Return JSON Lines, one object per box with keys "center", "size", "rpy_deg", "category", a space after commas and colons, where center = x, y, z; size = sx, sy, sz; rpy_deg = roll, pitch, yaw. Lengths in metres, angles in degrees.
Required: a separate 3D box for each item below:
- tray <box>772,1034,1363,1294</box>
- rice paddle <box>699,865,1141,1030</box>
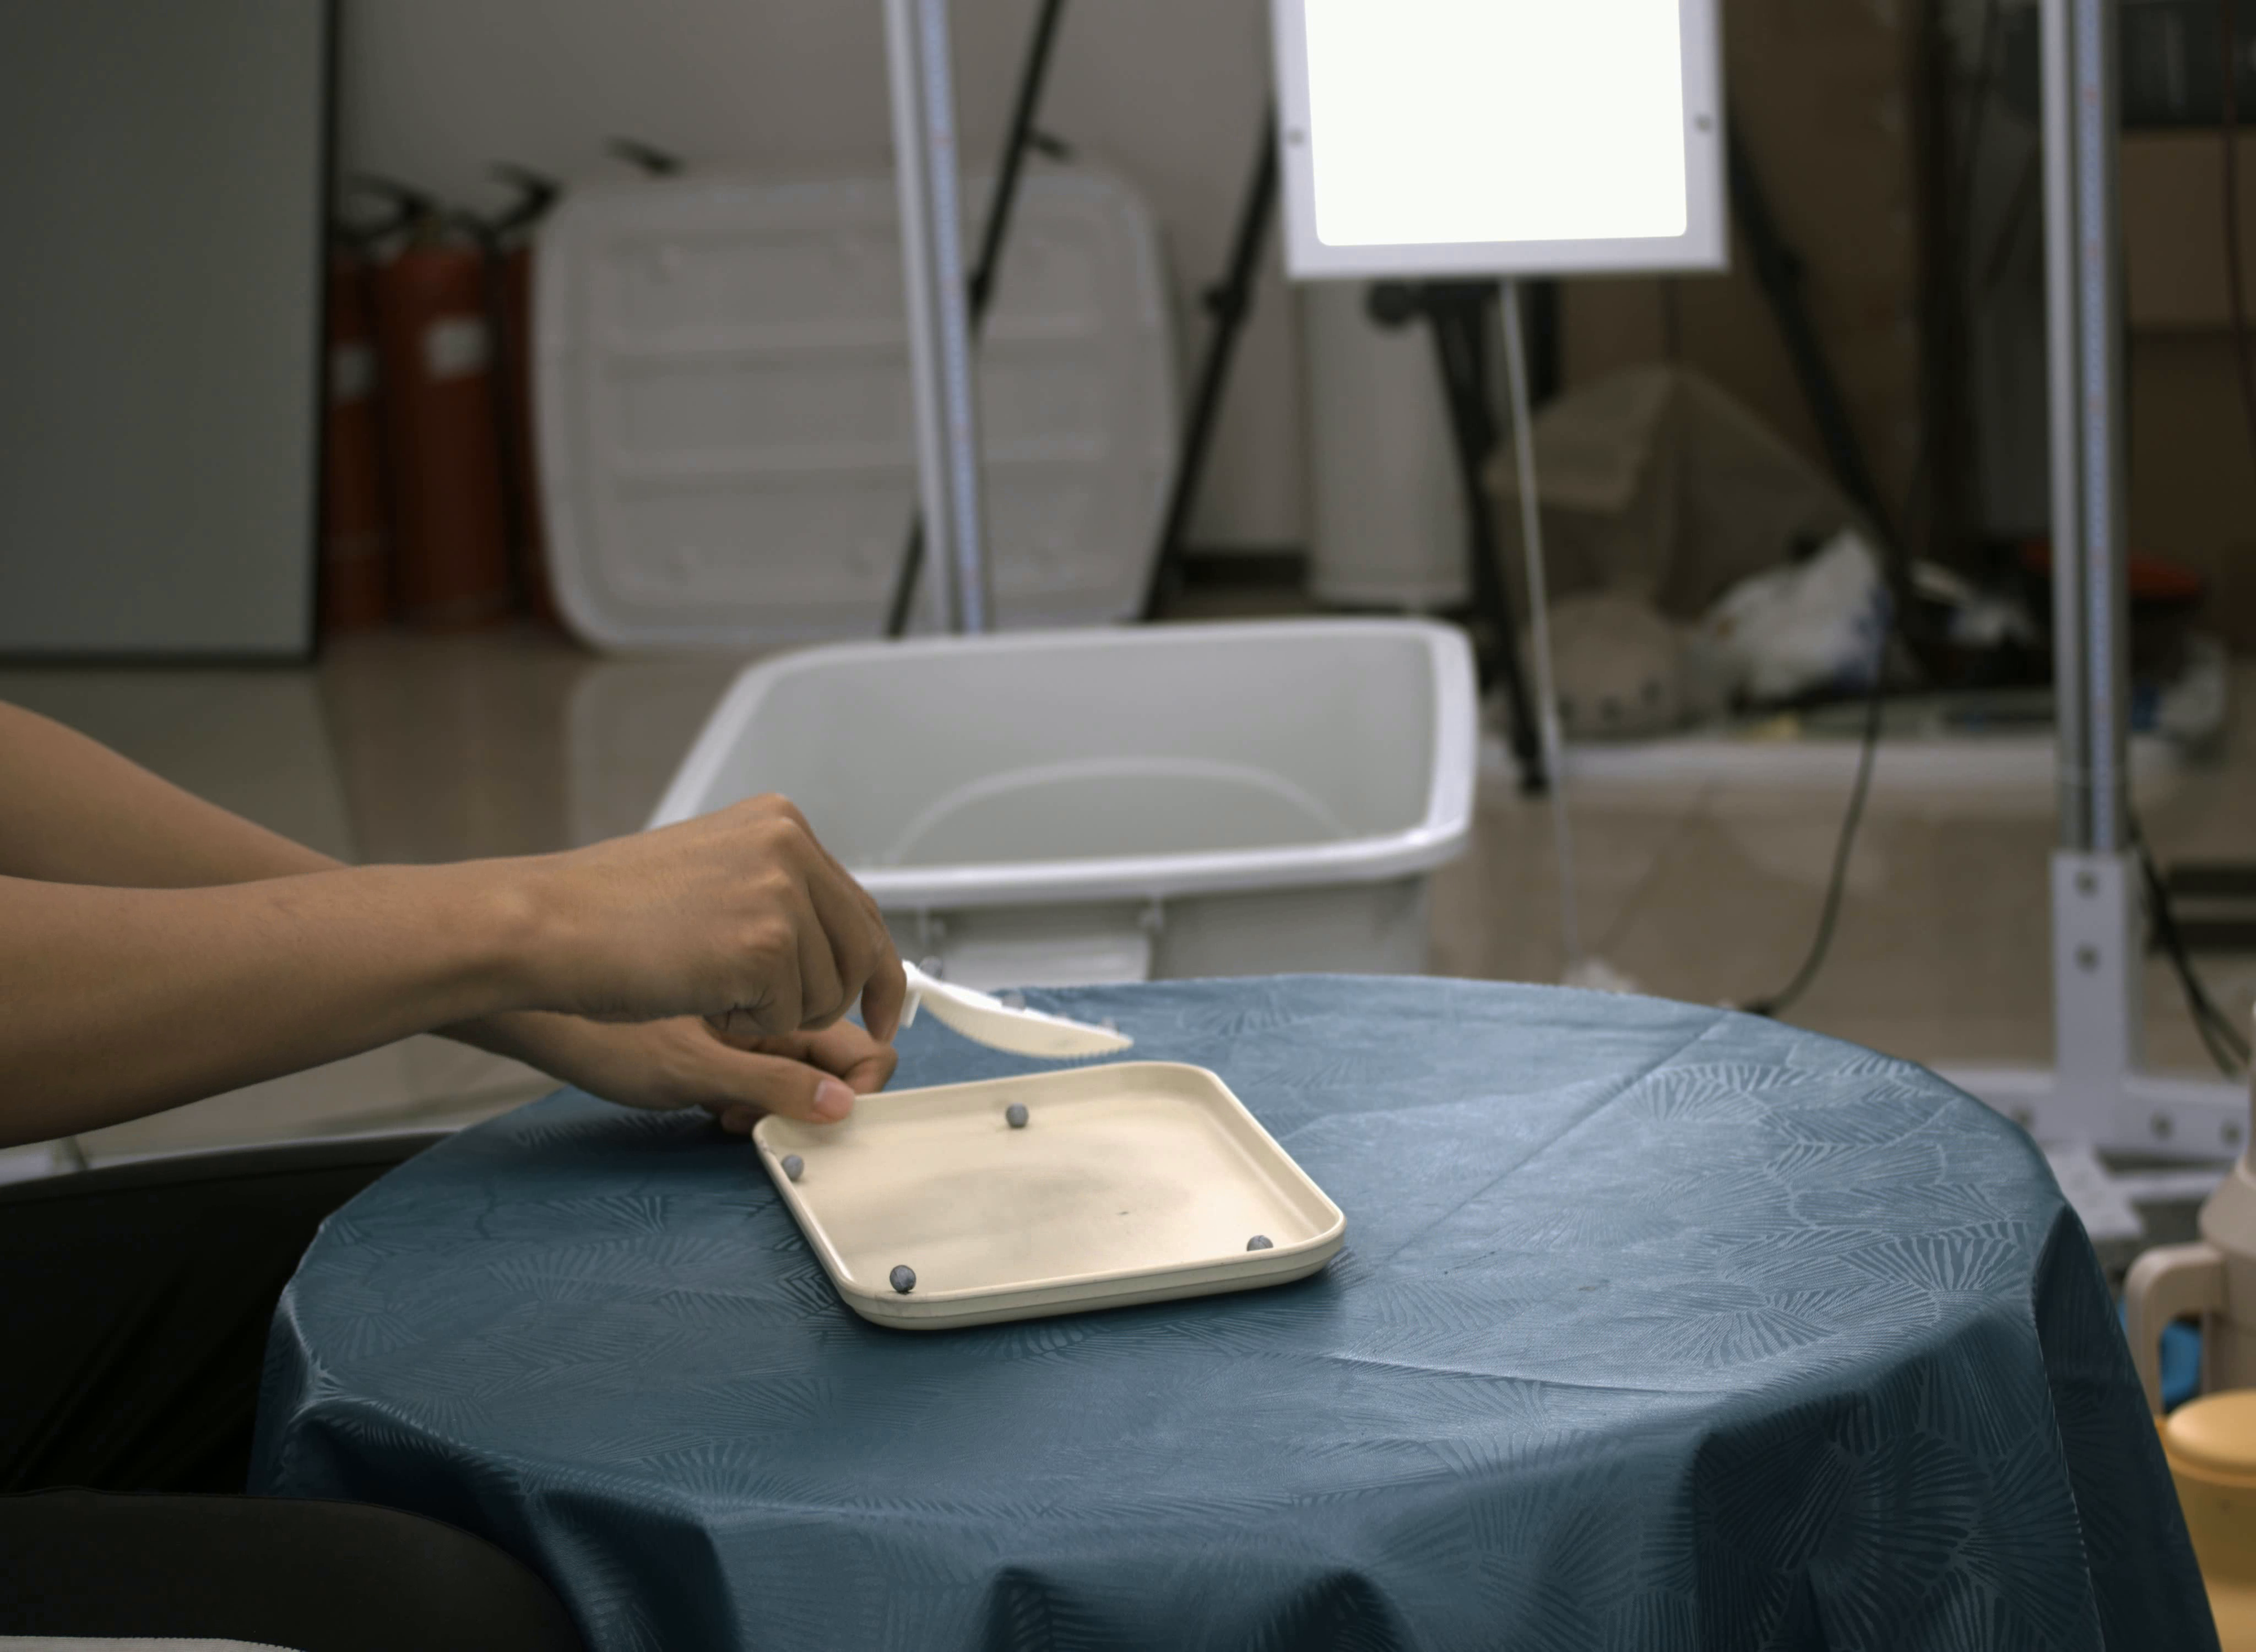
{"center": [-0.024, 0.115, 1.890], "size": [0.169, 0.017, 0.241], "rpy_deg": [-7, 13, -10], "category": "tray"}
{"center": [-0.067, 0.044, 1.854], "size": [0.070, 0.029, 0.200], "rpy_deg": [16, 0, 39], "category": "rice paddle"}
